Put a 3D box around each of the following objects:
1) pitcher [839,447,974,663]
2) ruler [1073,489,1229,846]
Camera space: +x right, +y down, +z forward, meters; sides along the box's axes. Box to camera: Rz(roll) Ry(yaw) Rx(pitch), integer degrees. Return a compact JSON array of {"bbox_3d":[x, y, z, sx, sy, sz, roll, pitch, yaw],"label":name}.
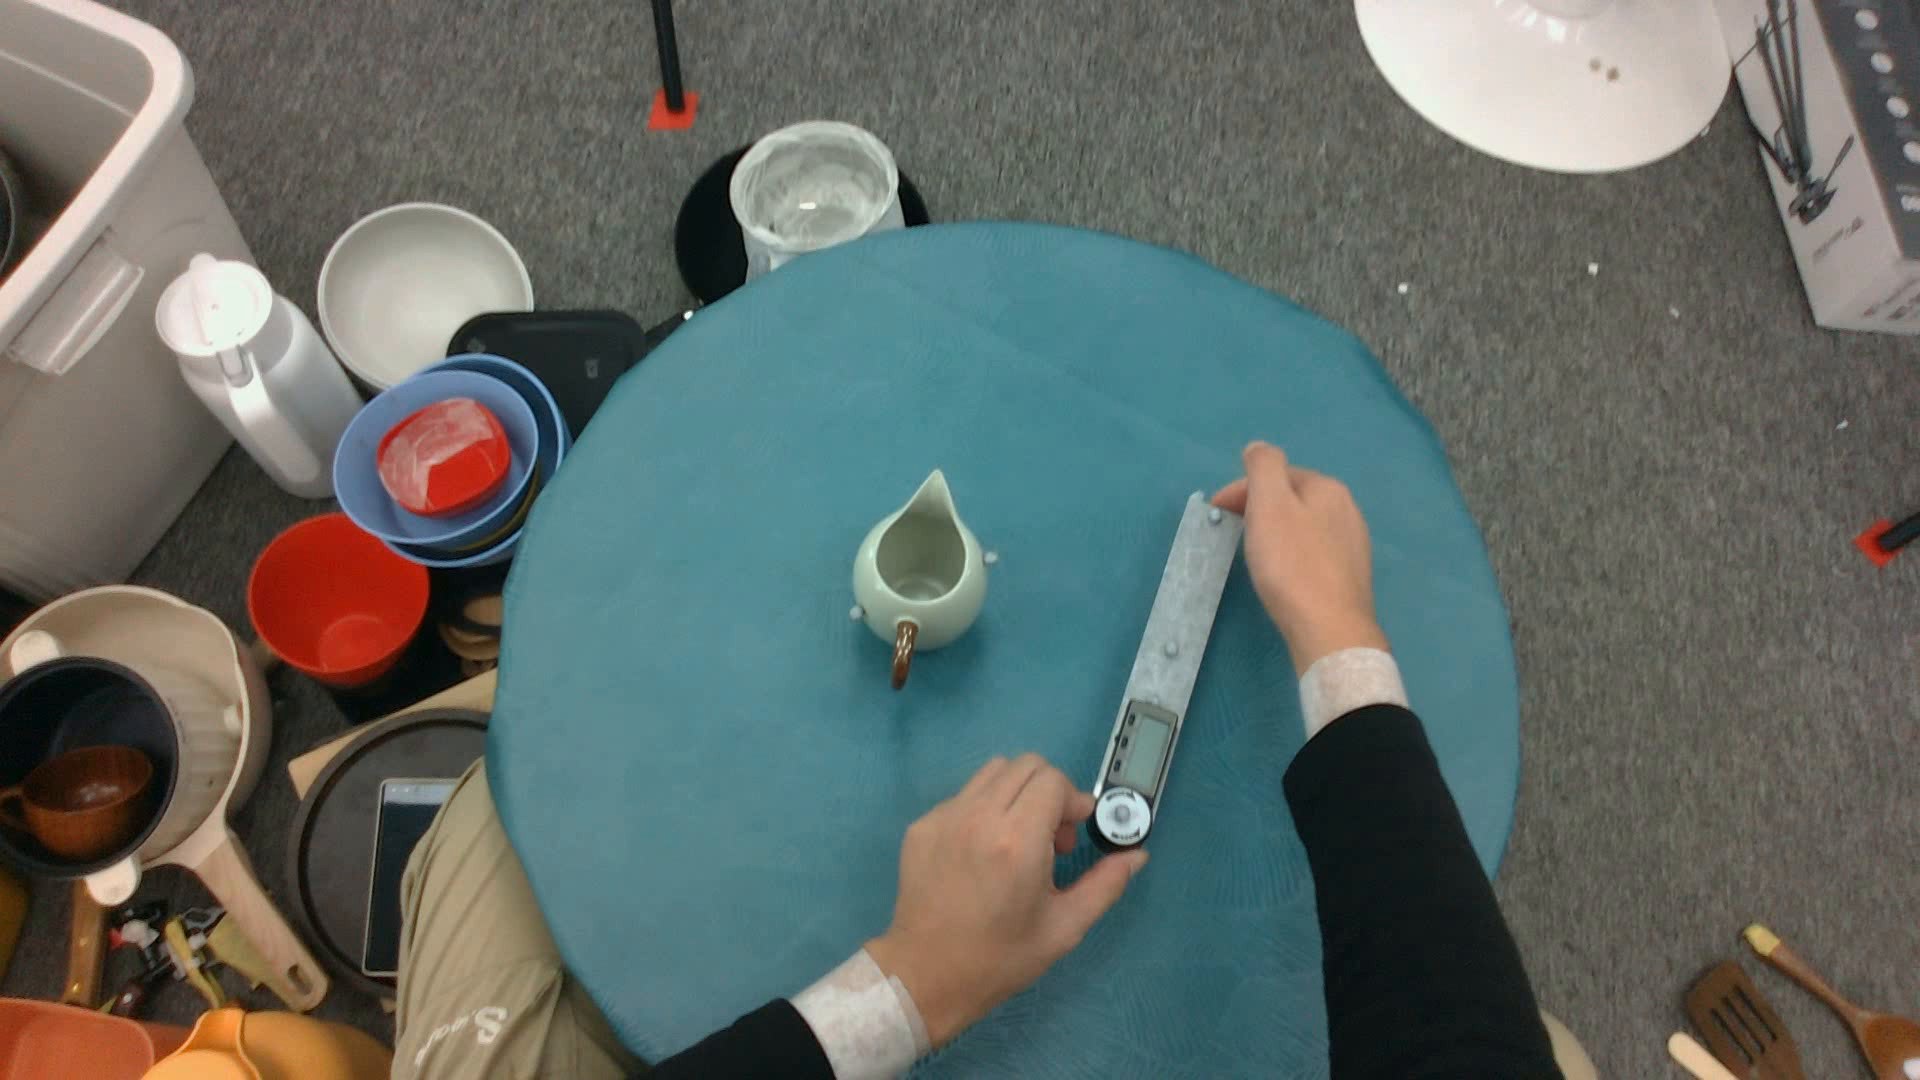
[{"bbox_3d":[-0.032,0.020,0.778,0.076,0.087,0.119,12,64,5],"label":"pitcher"},{"bbox_3d":[0.110,0.066,0.772,0.038,0.024,0.219,21,66,0],"label":"ruler"}]
